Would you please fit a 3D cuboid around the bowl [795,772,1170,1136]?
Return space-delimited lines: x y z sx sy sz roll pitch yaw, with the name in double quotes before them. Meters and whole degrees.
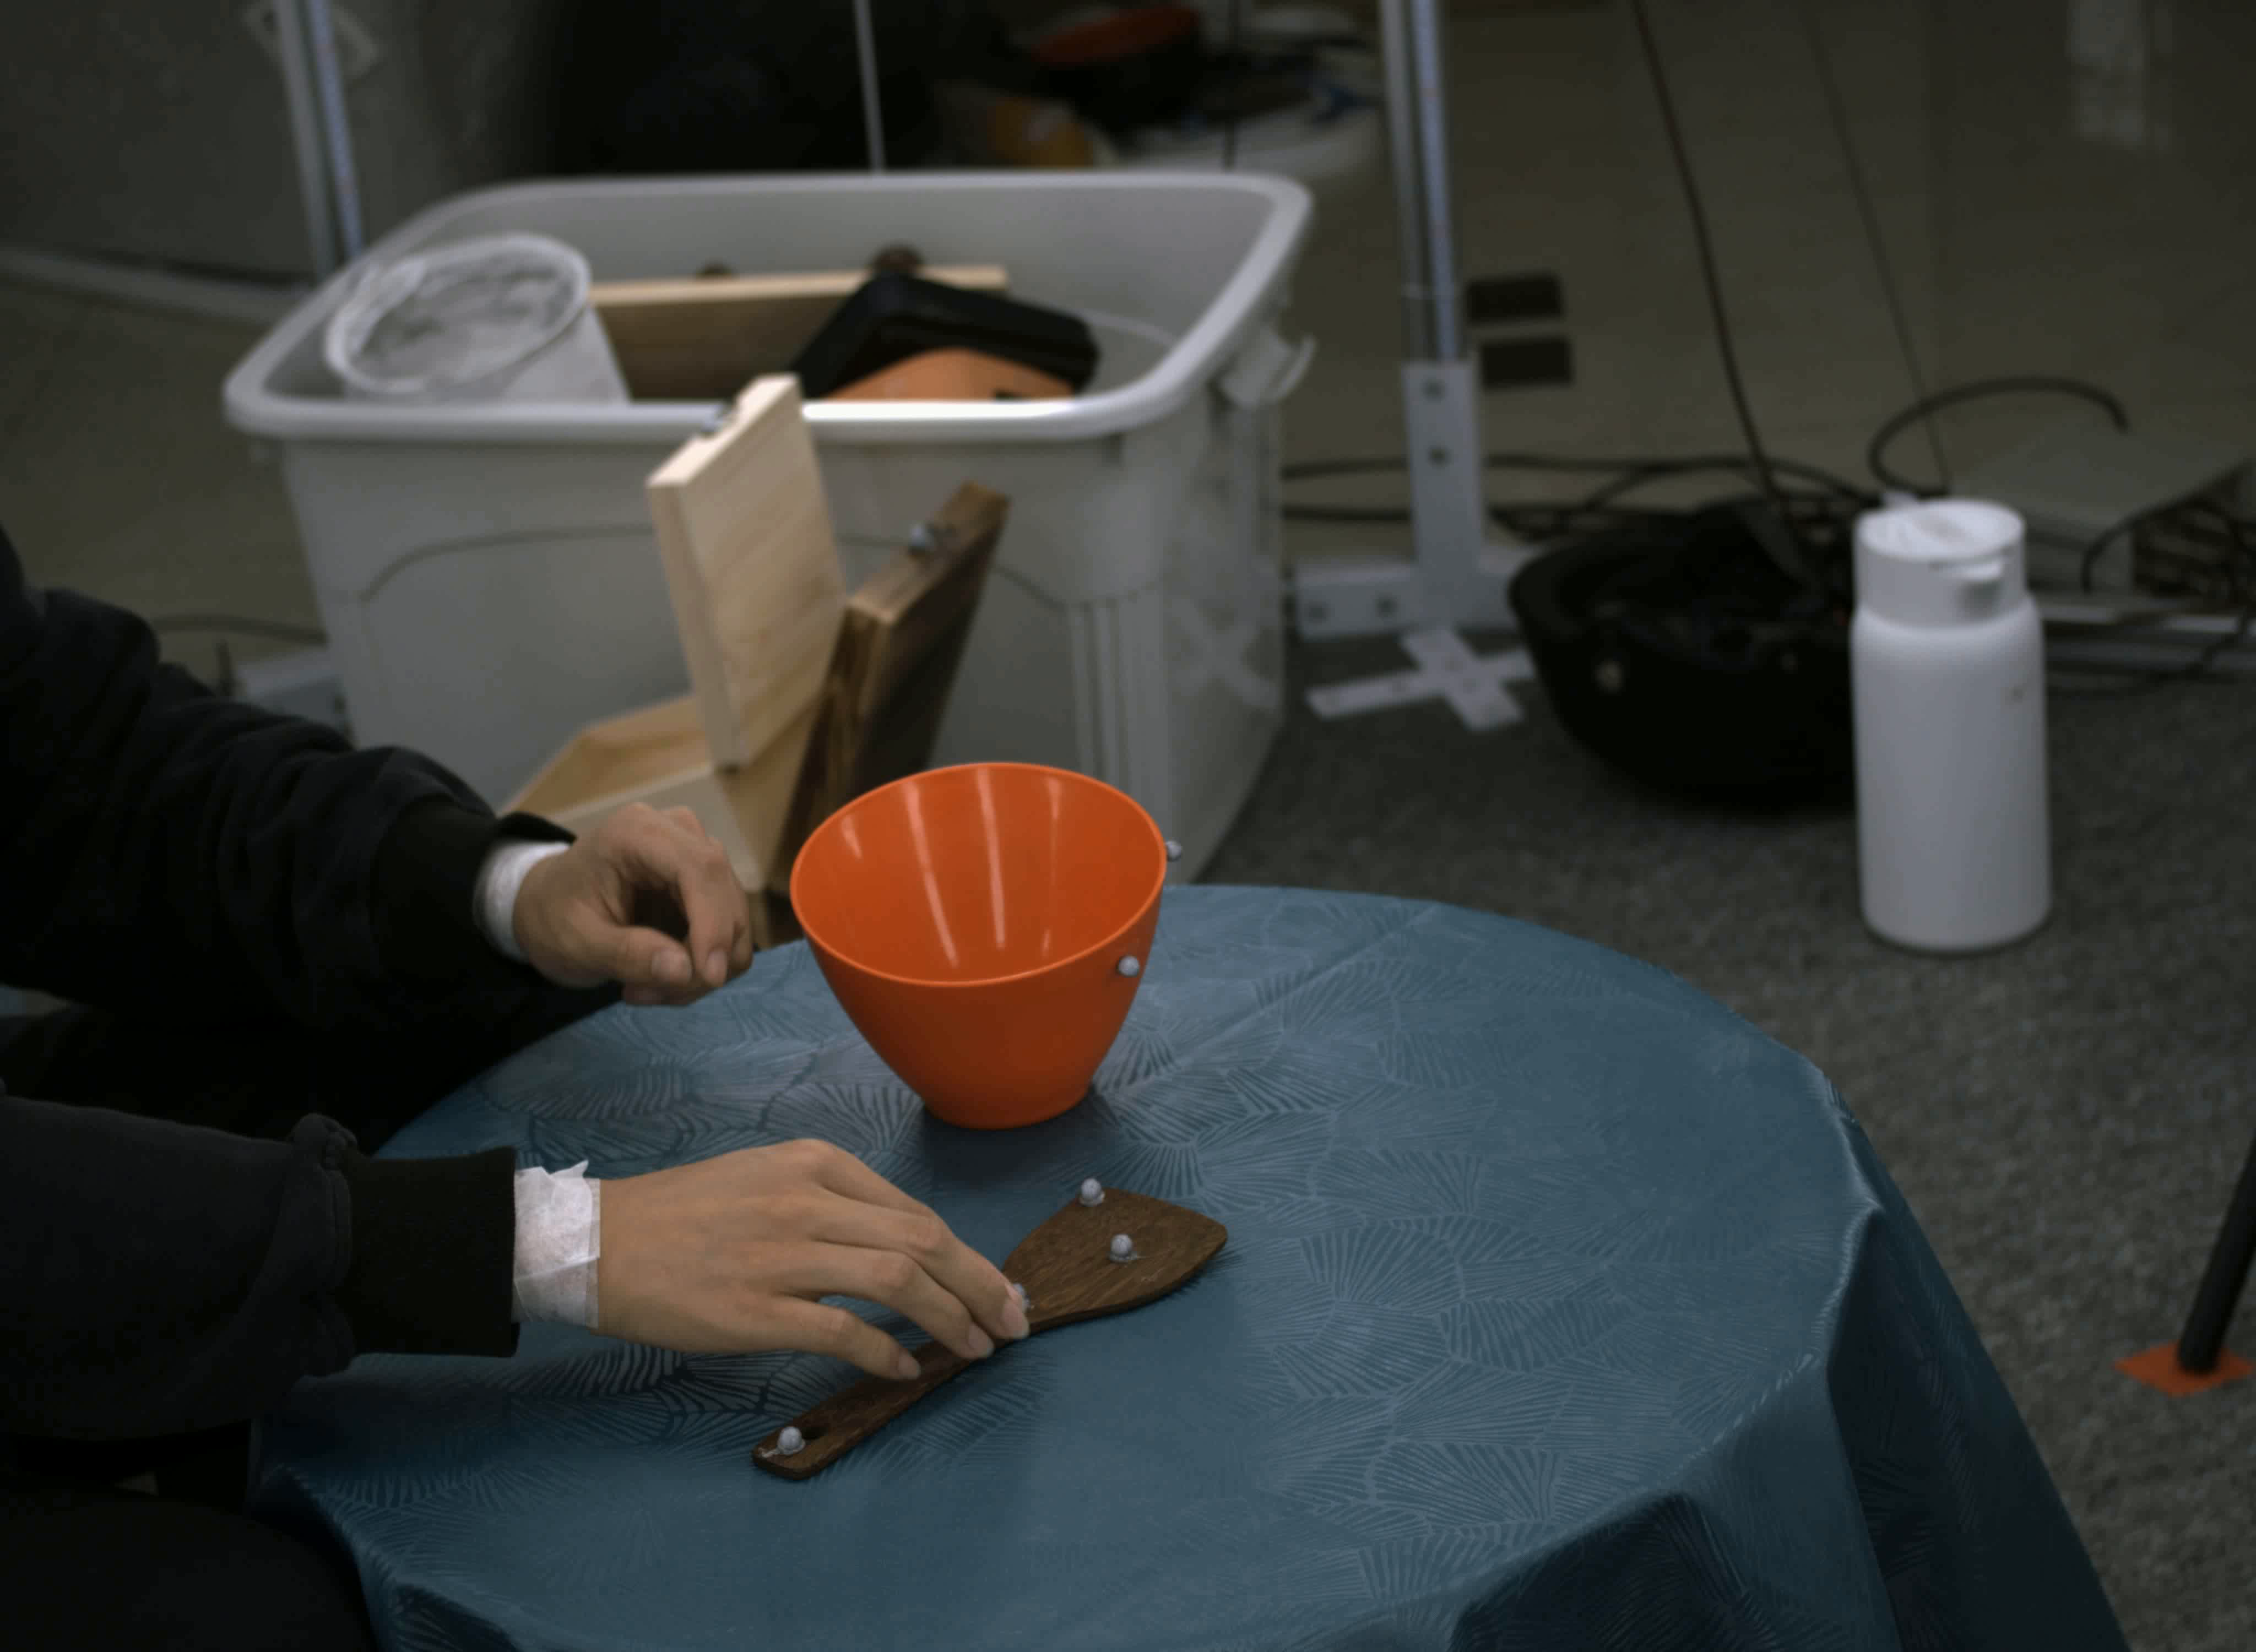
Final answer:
"bowl" -0.053 0.056 2.224 0.148 0.106 0.146 -5 25 2

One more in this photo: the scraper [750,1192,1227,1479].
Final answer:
"scraper" -0.055 0.186 2.057 0.075 0.011 0.209 15 33 42
